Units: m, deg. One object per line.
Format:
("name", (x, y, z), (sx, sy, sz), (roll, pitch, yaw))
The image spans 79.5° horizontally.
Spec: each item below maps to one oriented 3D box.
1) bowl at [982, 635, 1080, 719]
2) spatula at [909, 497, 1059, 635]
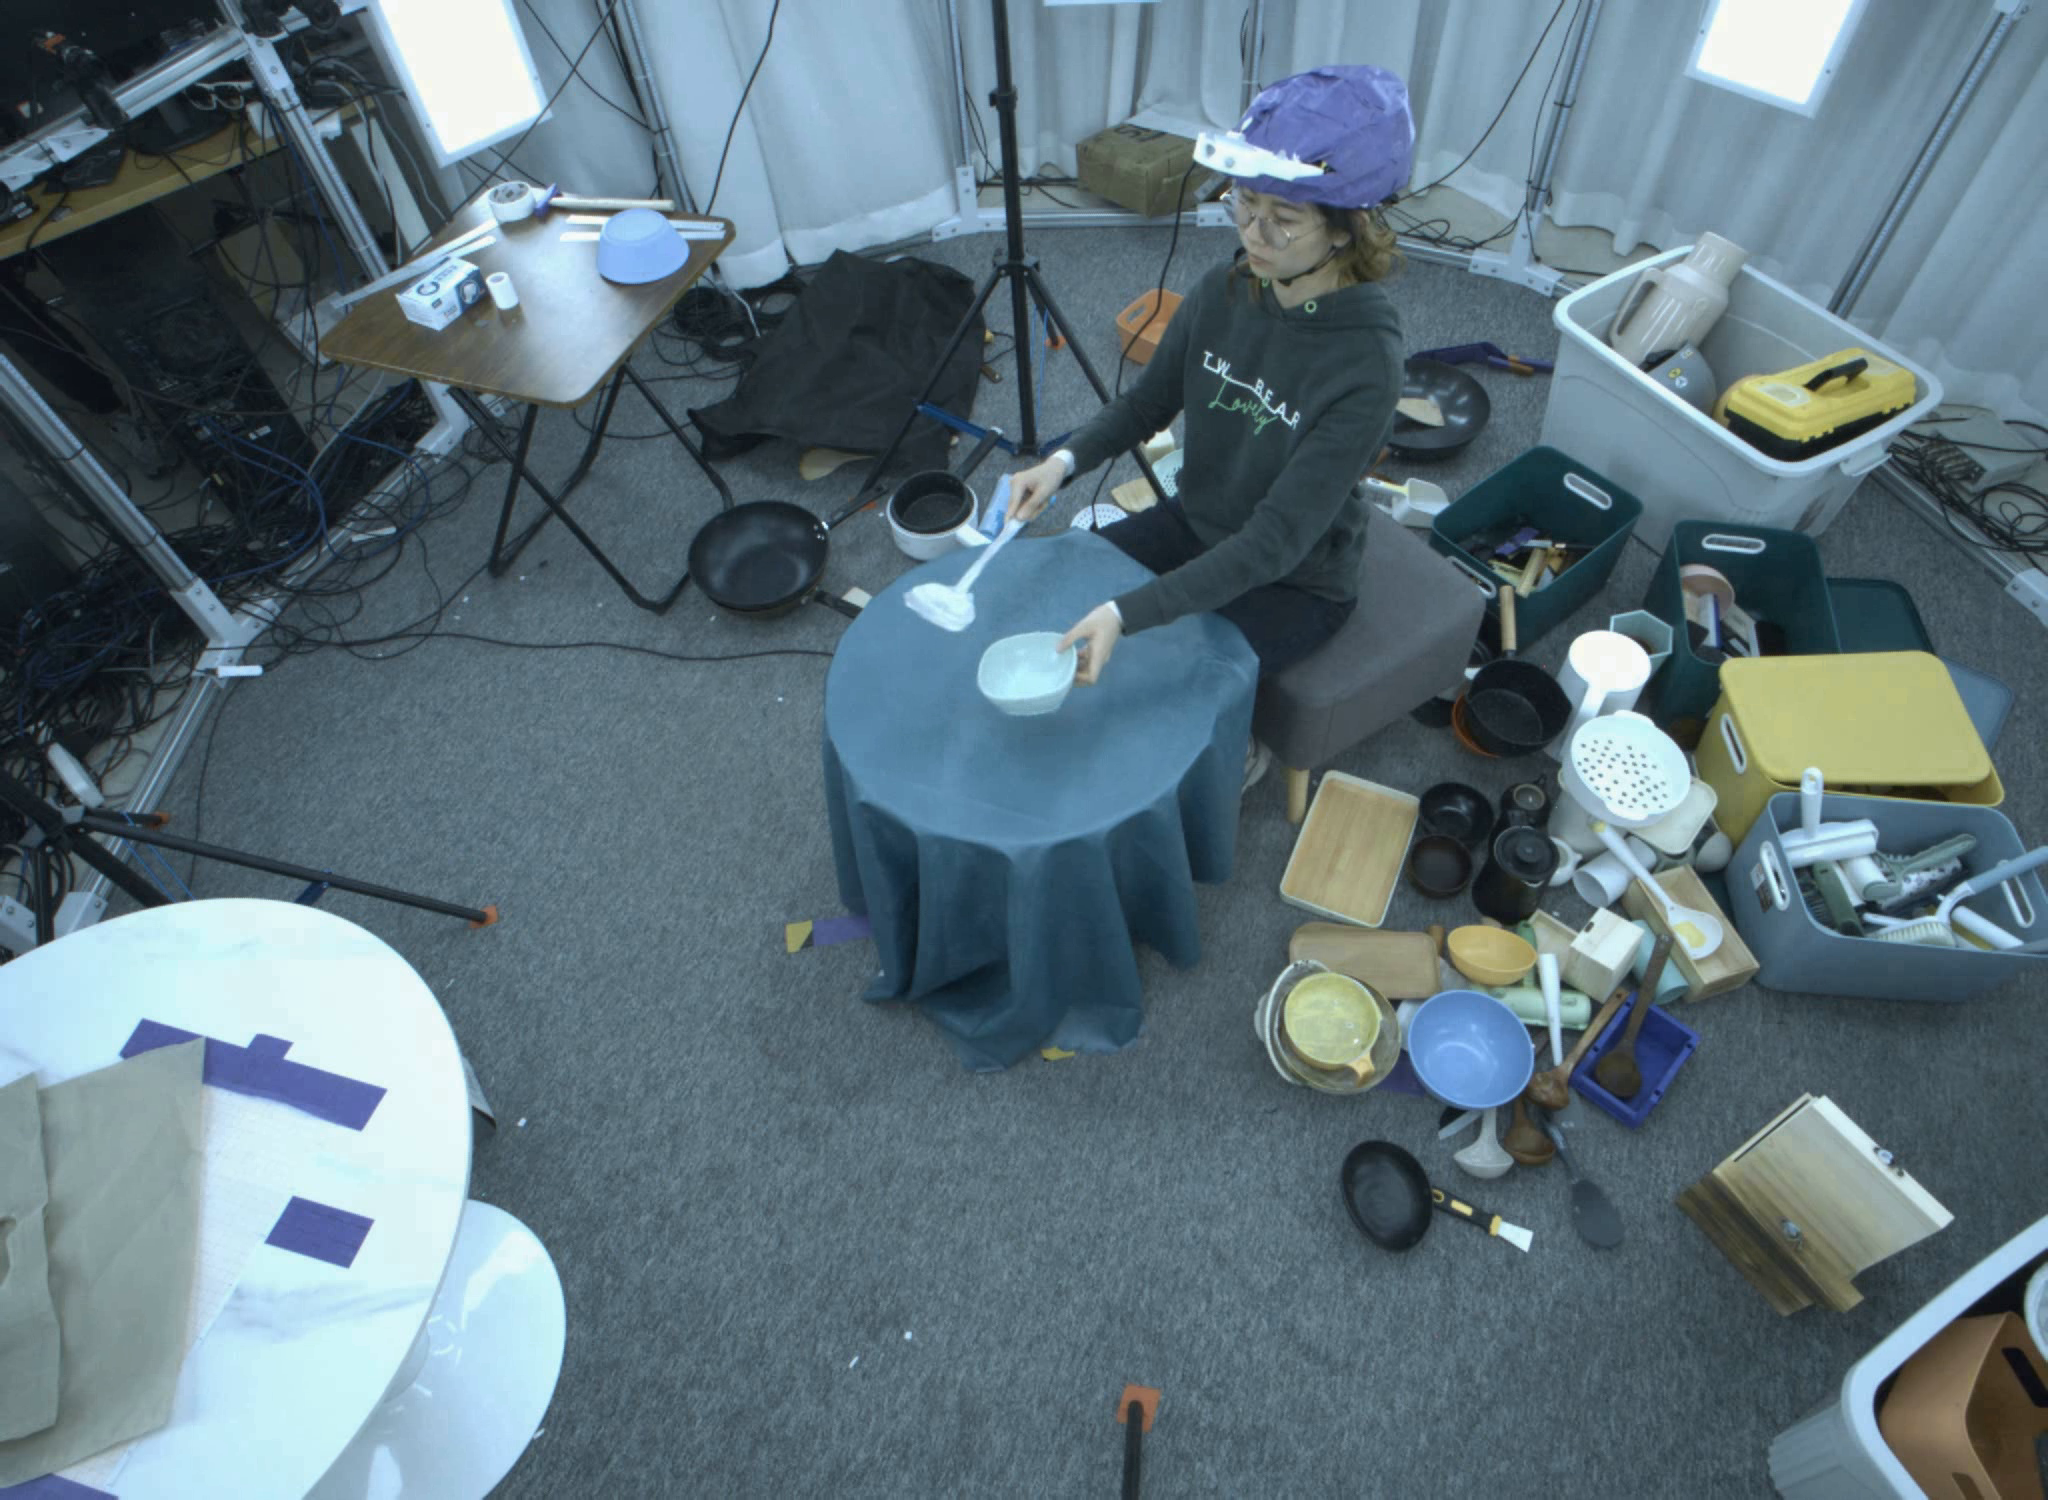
("bowl", (0.015, -0.094, 1.732), (0.150, 0.059, 0.150), (-7, 46, 9))
("spatula", (-0.042, -0.289, 1.813), (0.098, 0.045, 0.366), (32, 57, 6))
